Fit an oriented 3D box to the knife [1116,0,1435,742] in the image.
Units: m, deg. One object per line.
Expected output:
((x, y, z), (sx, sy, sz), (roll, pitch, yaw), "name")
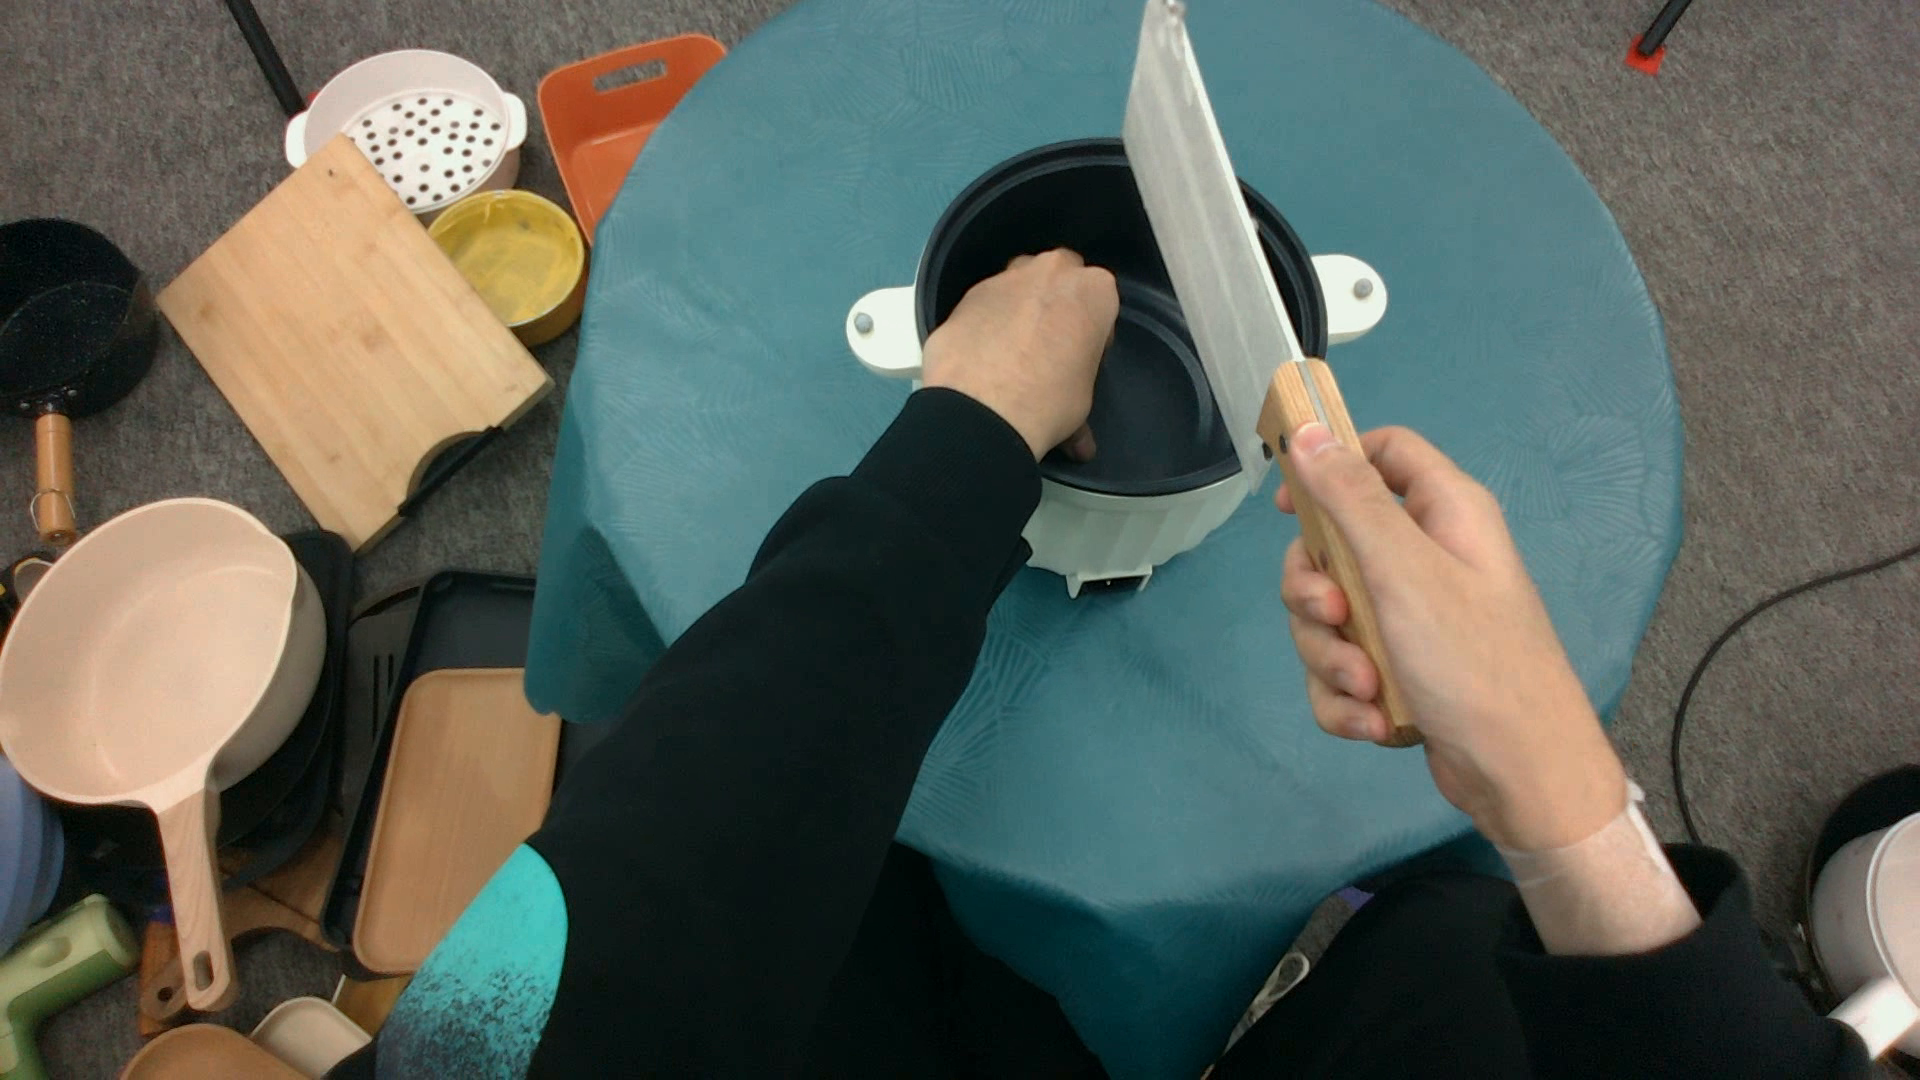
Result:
((0.102, -0.075, 0.499), (0.022, 0.113, 0.316), (-11, 62, -5), "knife")

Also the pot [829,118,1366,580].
((0.056, -0.090, 0.658), (0.240, 0.142, 0.191), (-6, 71, -9), "pot")
